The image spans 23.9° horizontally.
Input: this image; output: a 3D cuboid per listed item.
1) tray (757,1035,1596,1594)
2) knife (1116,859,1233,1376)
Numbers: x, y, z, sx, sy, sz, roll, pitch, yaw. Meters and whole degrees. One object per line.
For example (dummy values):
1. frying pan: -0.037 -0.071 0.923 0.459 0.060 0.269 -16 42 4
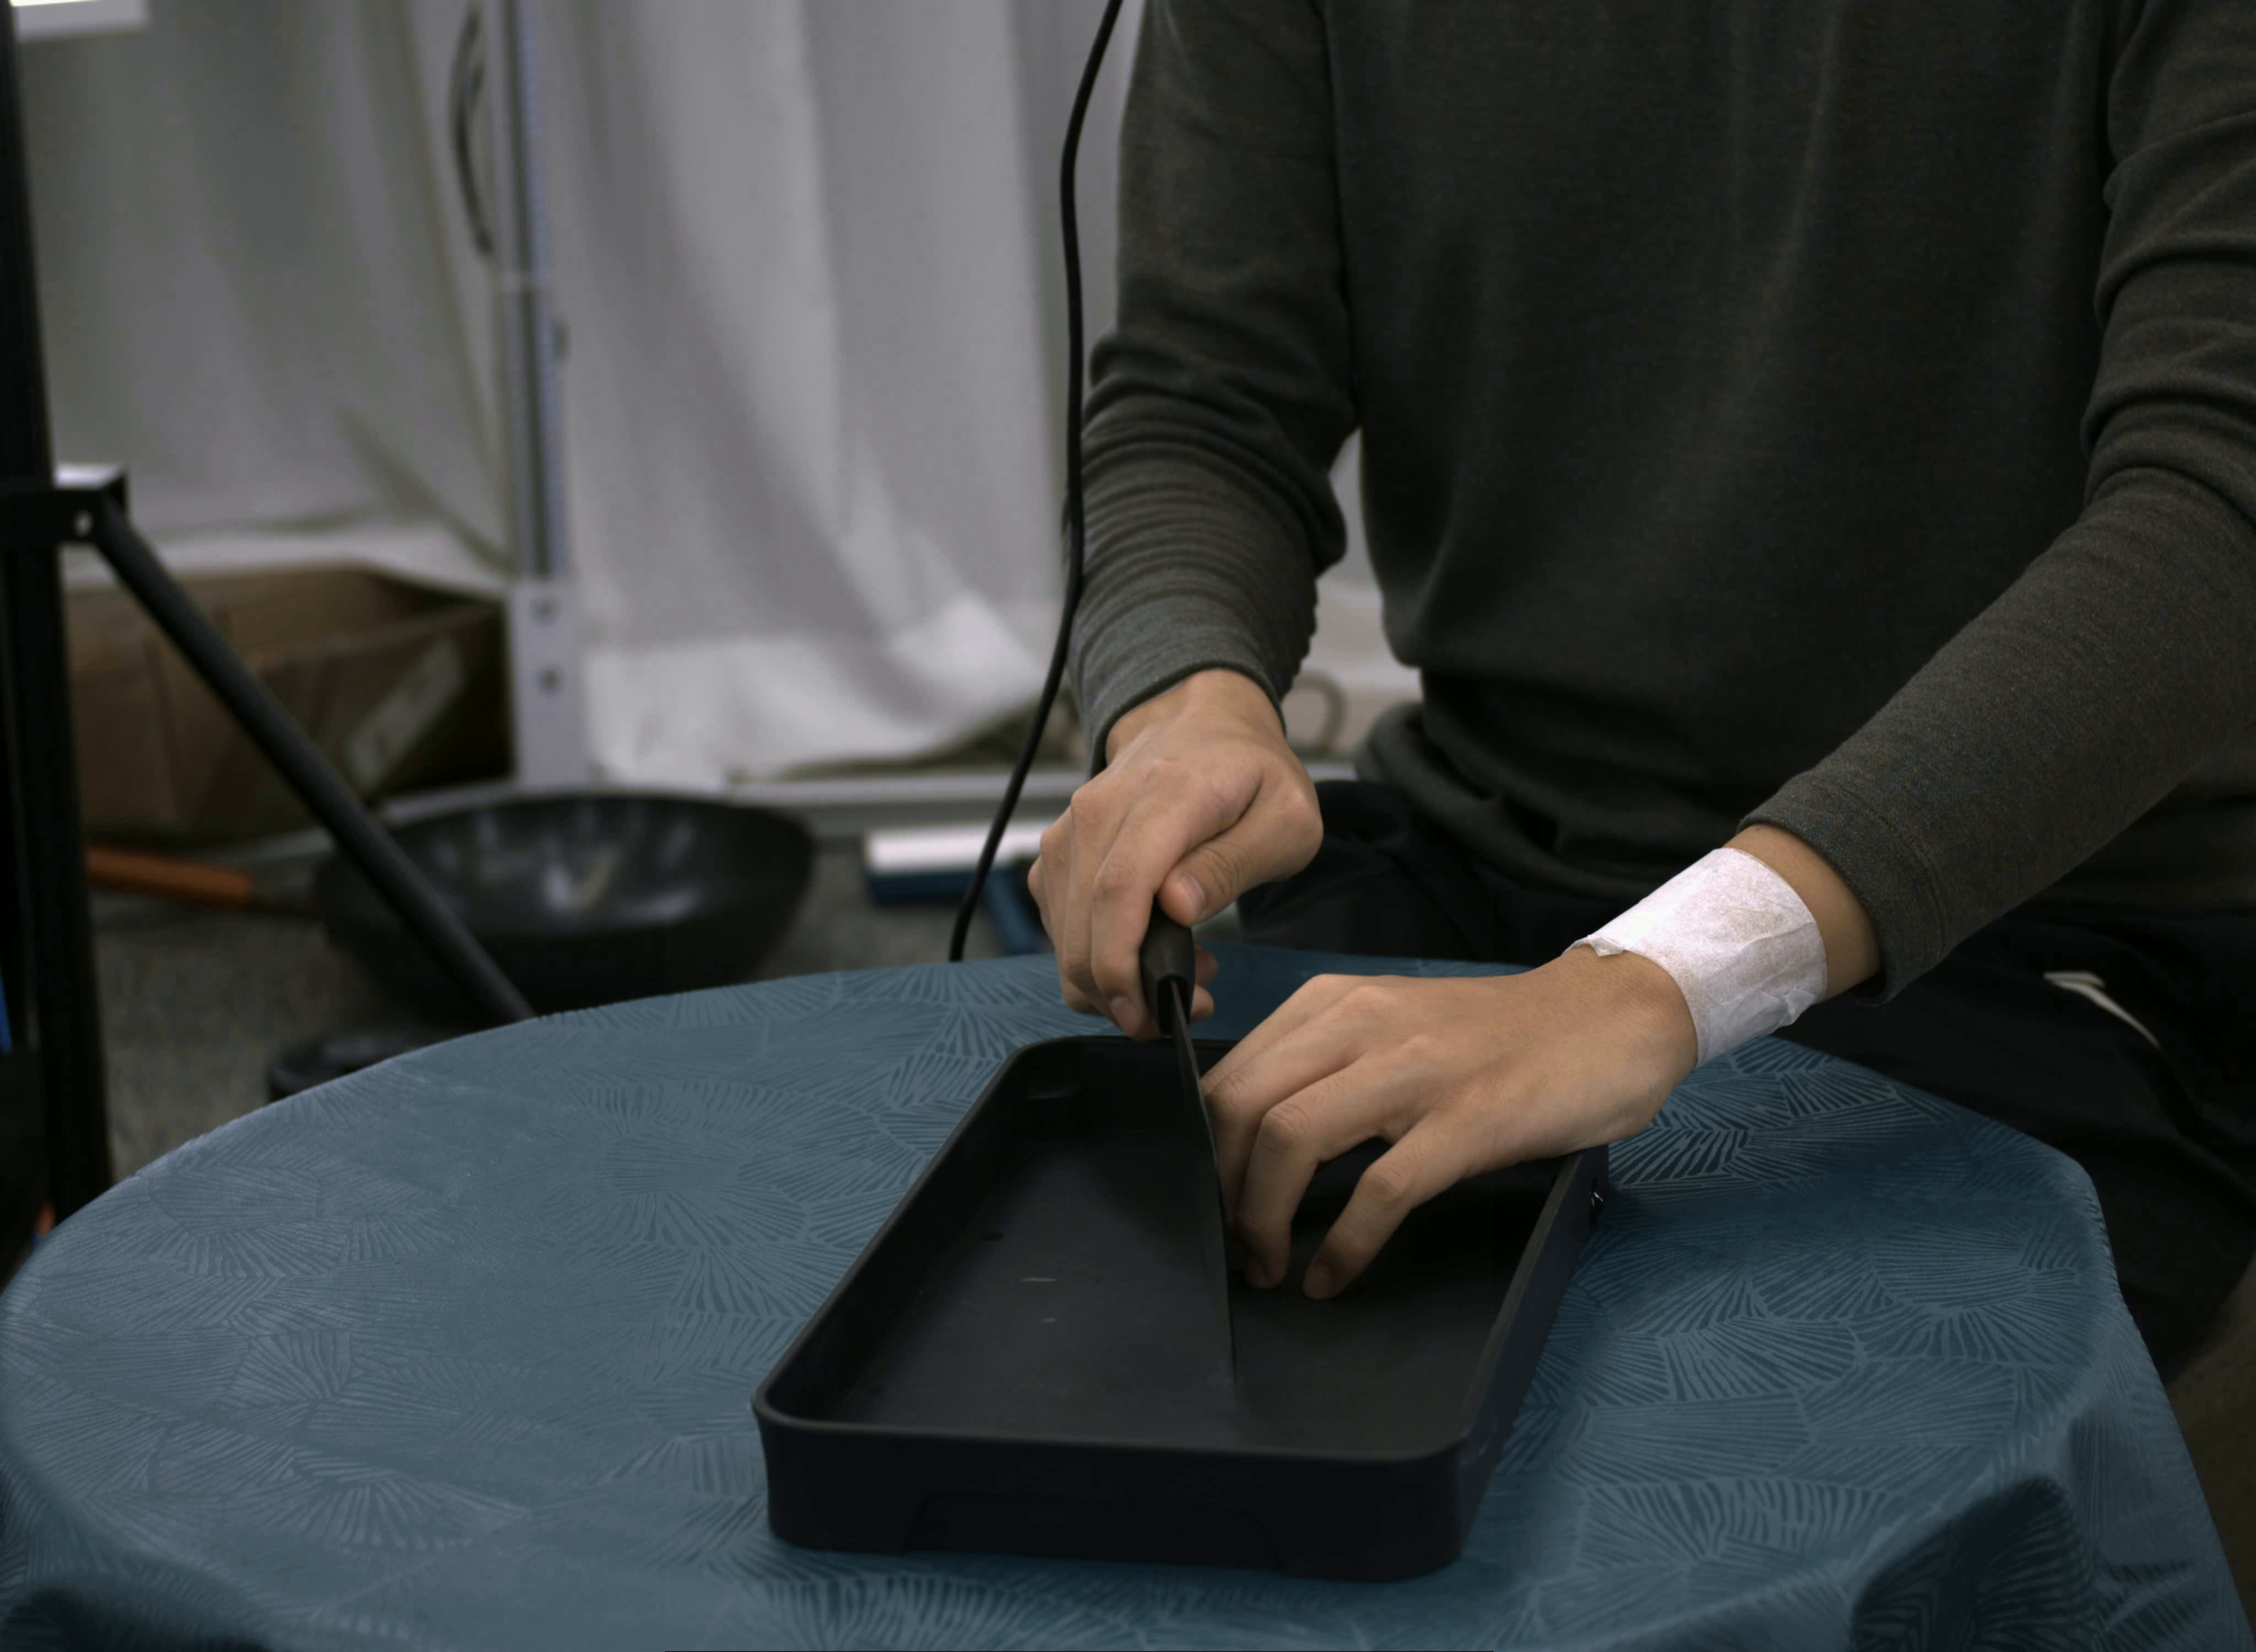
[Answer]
1. tray: 0.022 0.124 1.434 0.185 0.037 0.316 1 16 11
2. knife: 0.016 0.074 1.514 0.021 0.081 0.304 -4 20 -3
